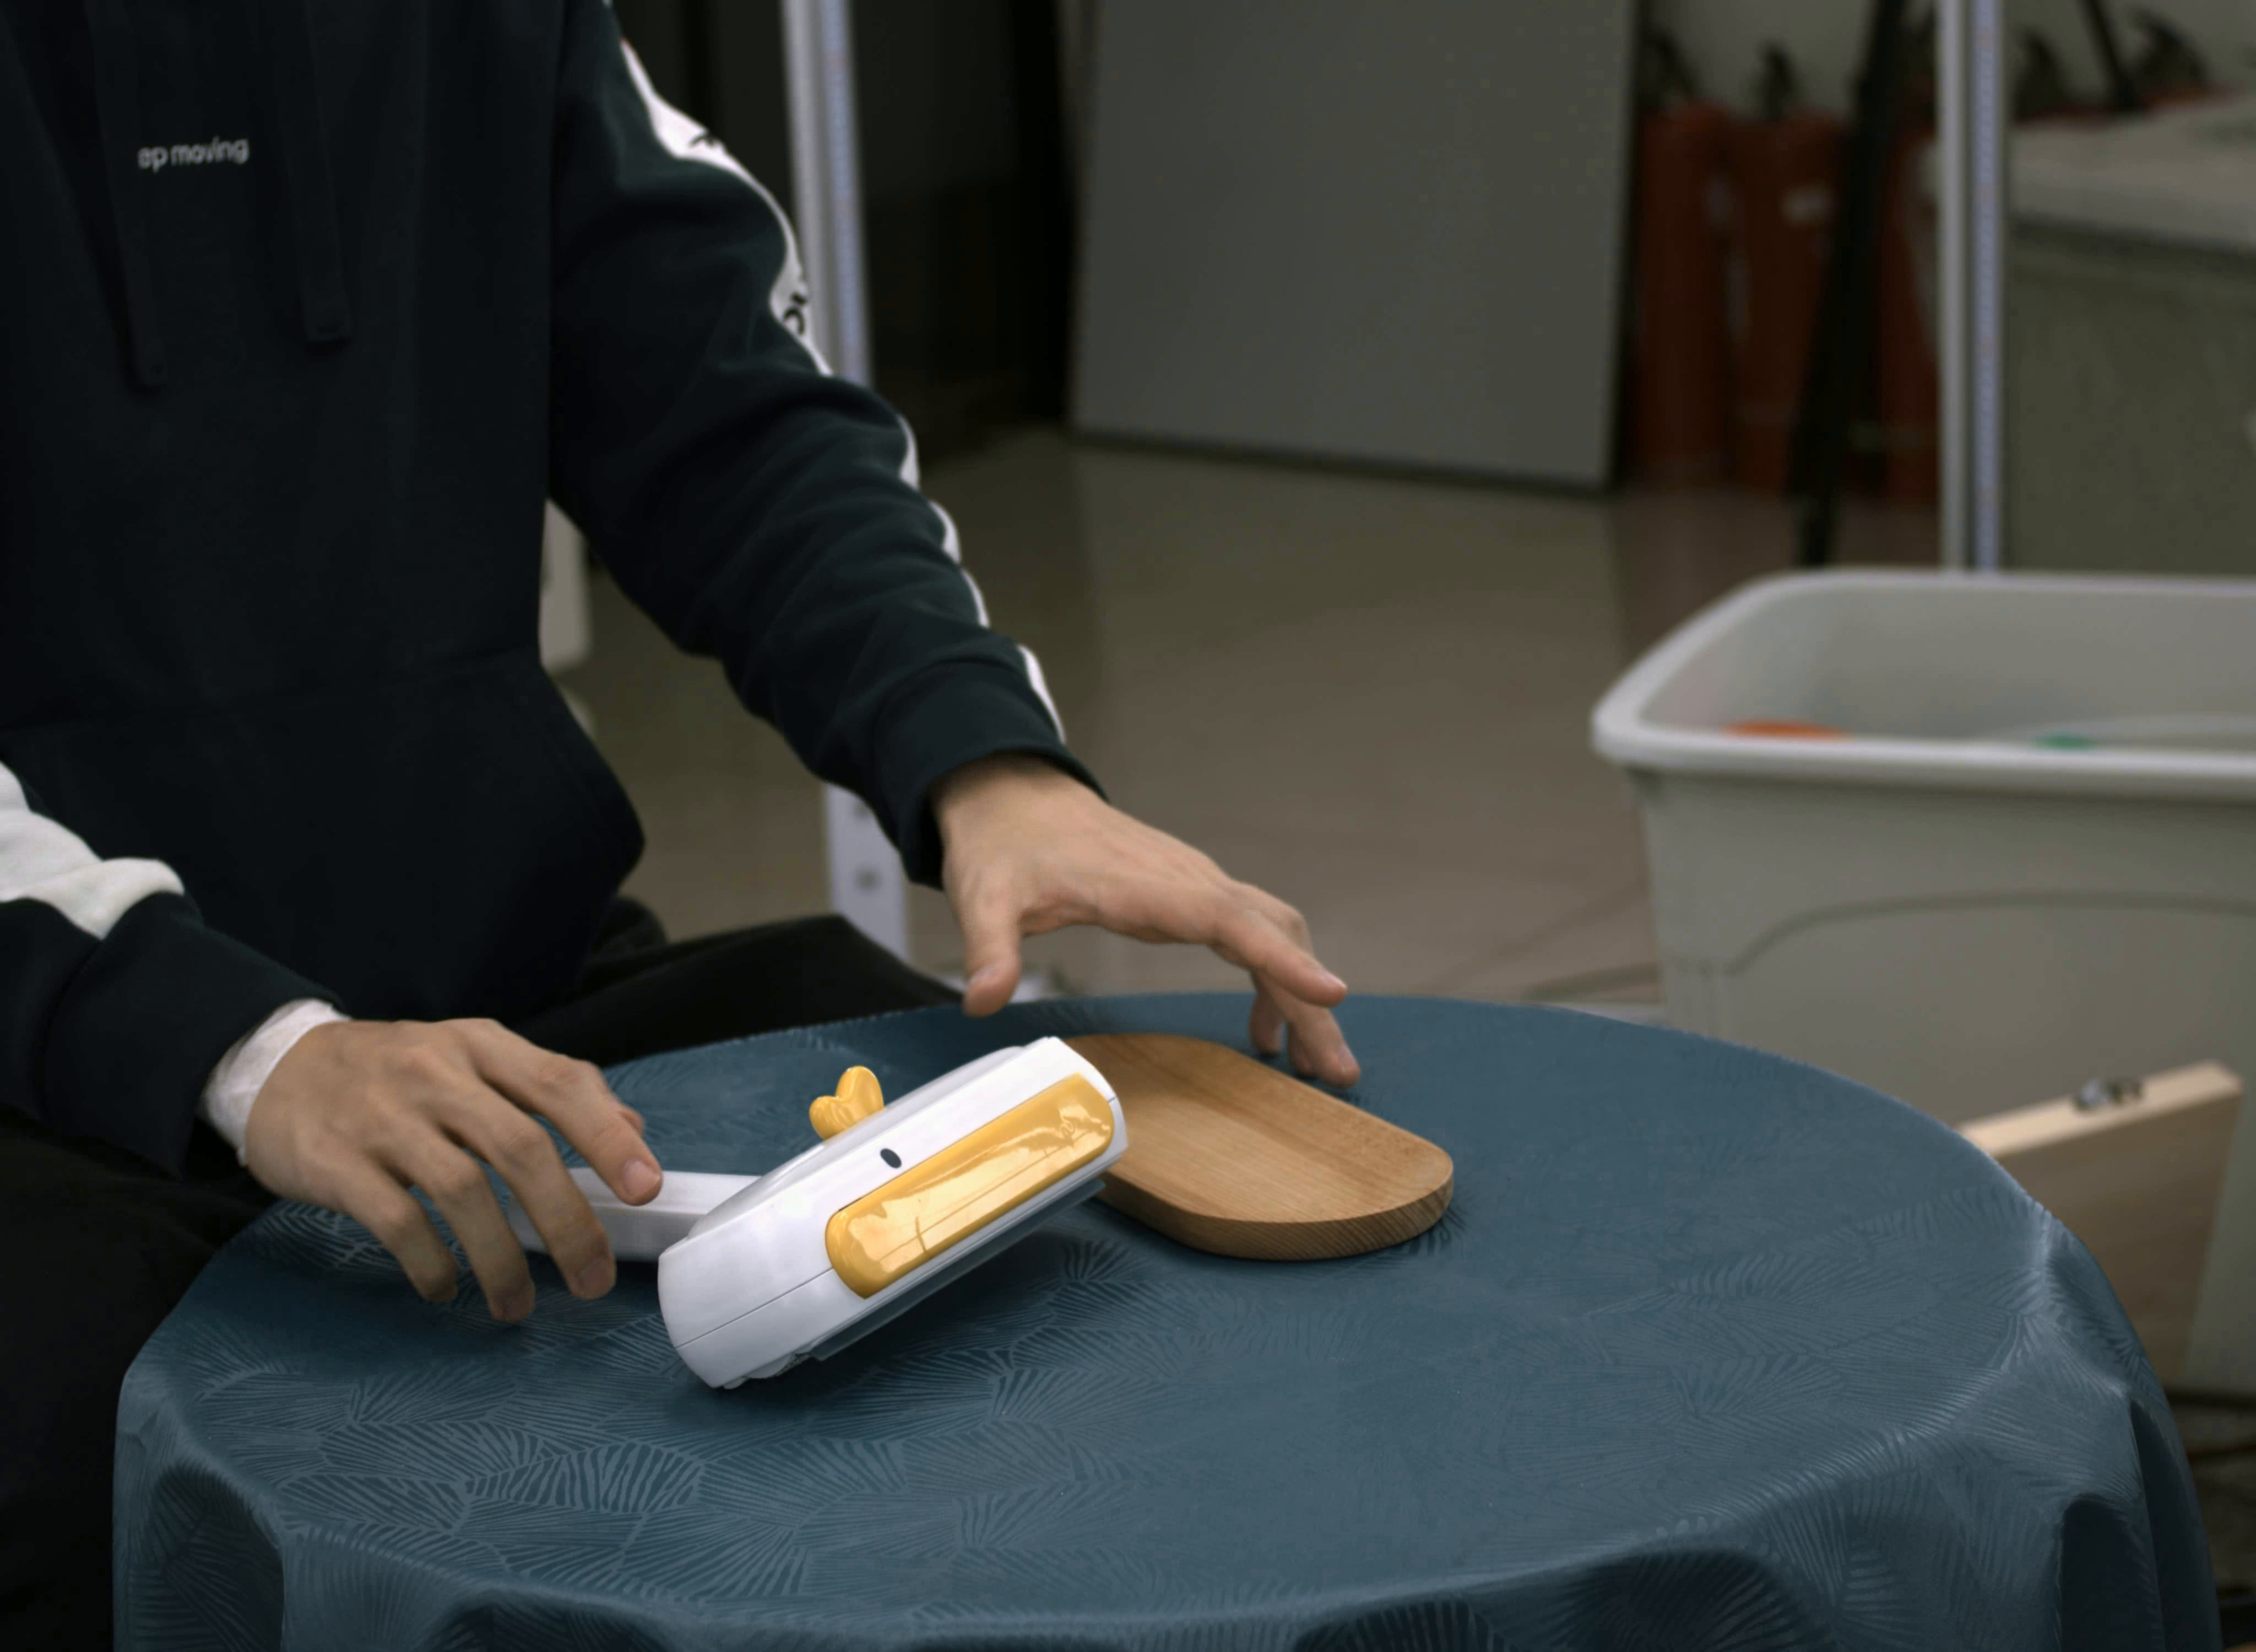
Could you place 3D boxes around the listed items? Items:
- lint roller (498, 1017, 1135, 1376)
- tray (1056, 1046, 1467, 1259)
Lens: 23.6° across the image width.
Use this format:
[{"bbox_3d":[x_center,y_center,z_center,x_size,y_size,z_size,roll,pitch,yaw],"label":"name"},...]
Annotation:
[{"bbox_3d":[-0.115,0.123,1.698,0.193,0.074,0.190,-18,10,35],"label":"lint roller"},{"bbox_3d":[0.027,0.107,1.788,0.099,0.020,0.233,-12,17,-27],"label":"tray"}]
